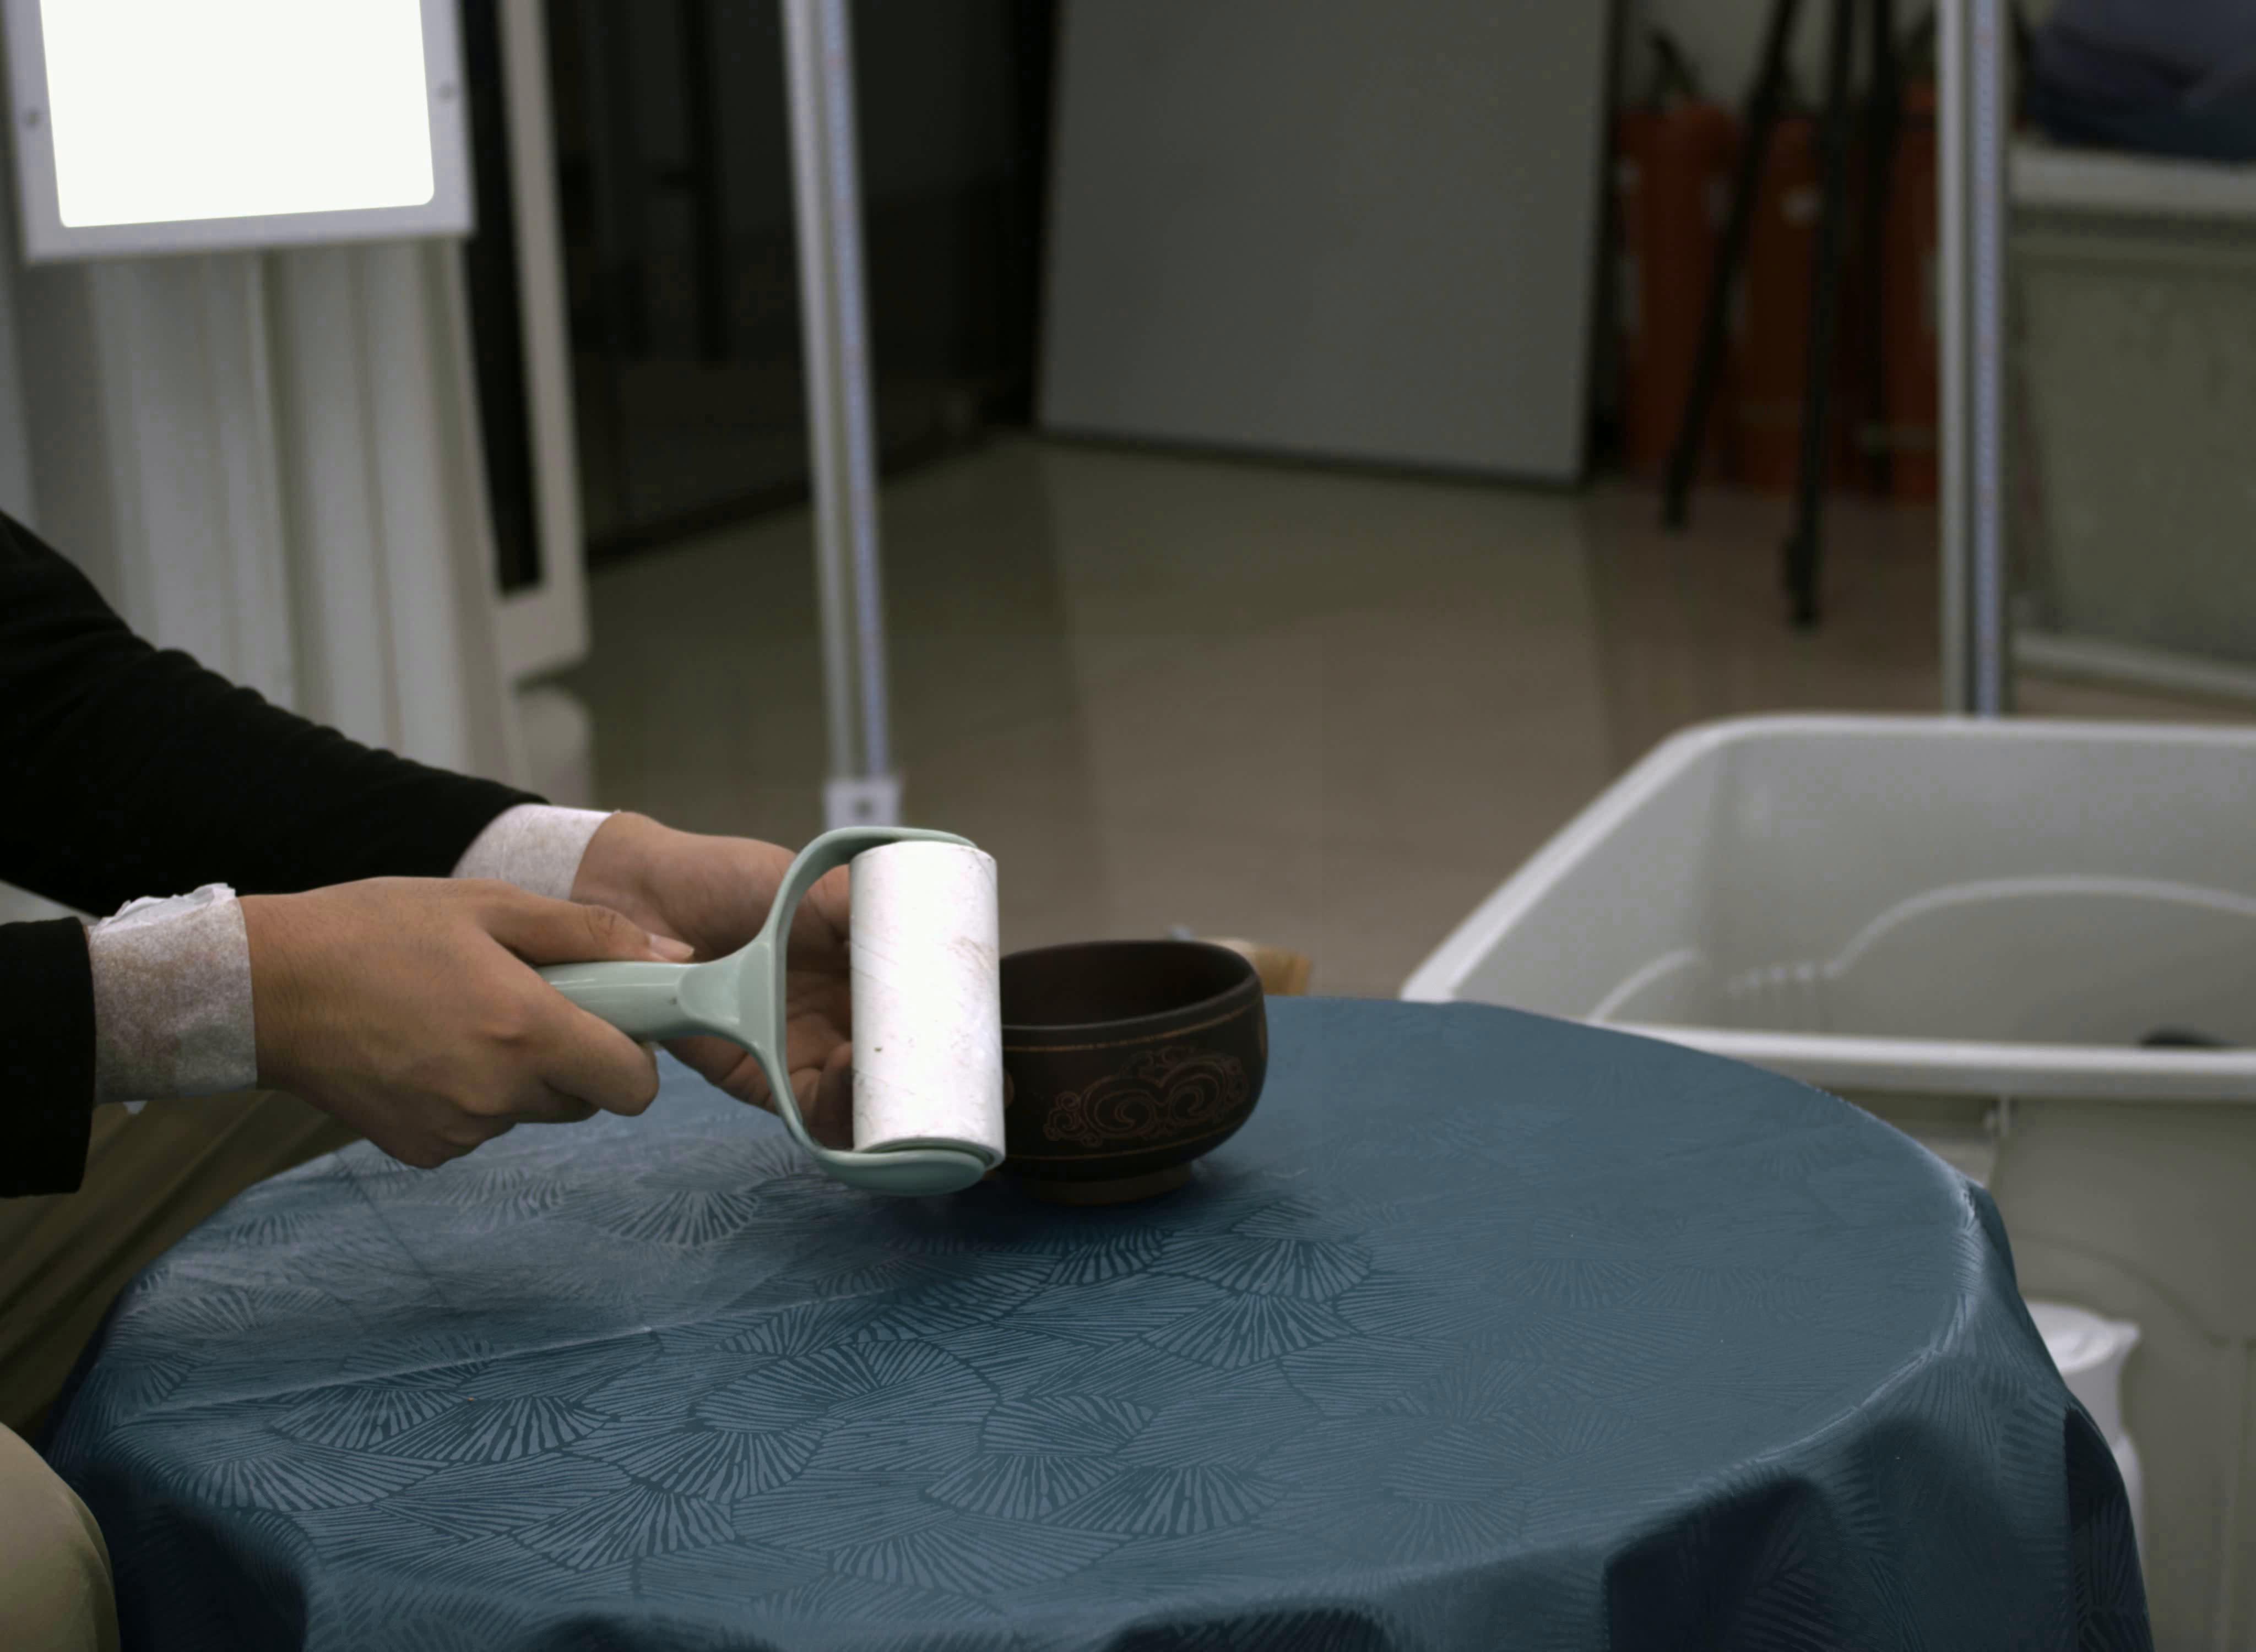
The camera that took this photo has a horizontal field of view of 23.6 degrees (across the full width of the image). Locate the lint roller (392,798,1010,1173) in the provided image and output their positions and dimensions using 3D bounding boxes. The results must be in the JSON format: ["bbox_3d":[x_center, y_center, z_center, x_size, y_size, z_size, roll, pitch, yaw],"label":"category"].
[{"bbox_3d":[-0.136,0.053,1.710,0.195,0.118,0.048,-2,-20,0],"label":"lint roller"}]

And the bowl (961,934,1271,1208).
[{"bbox_3d":[-0.010,0.084,1.771,0.116,0.070,0.118,-6,13,1],"label":"bowl"}]
